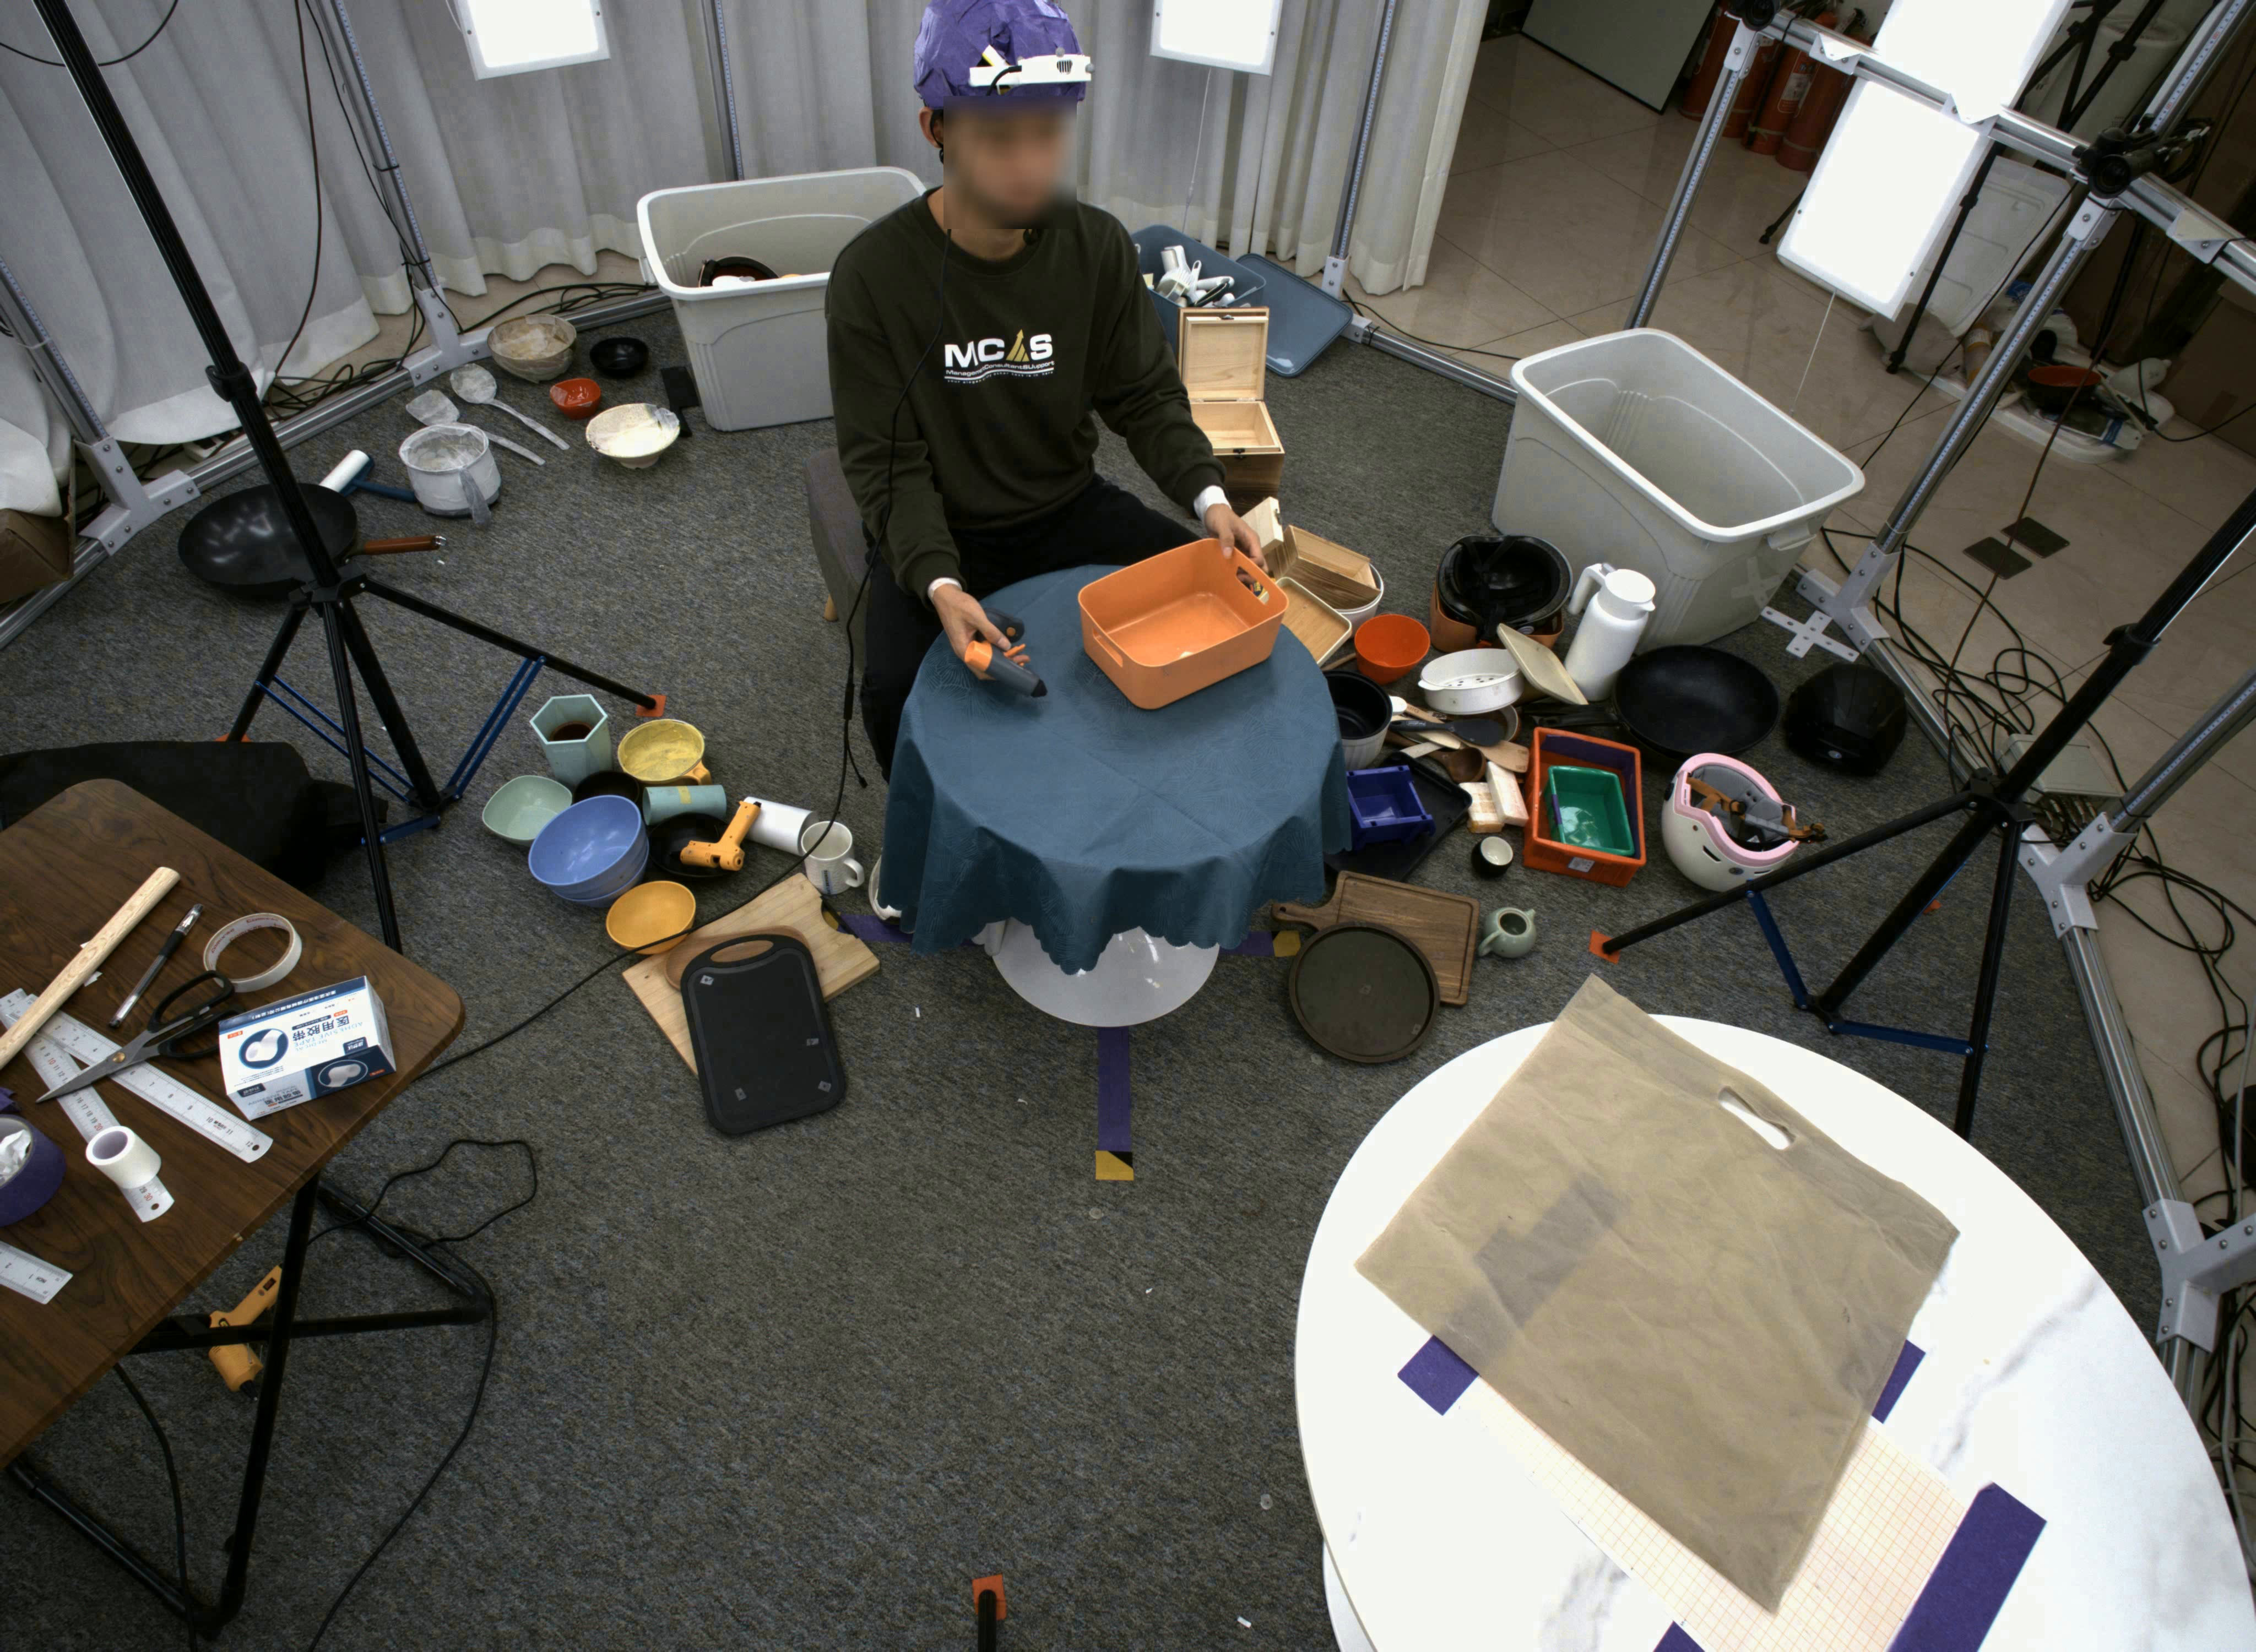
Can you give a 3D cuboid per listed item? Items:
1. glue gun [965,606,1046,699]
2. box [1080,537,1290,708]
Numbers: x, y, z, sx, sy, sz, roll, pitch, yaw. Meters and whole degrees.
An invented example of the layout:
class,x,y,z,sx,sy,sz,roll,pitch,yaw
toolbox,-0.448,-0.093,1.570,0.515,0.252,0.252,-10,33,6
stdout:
class,x,y,z,sx,sy,sz,roll,pitch,yaw
glue gun,-0.171,-0.241,1.802,0.116,0.040,0.143,21,36,-28
box,0.077,-0.292,1.852,0.274,0.100,0.203,-26,56,-24
